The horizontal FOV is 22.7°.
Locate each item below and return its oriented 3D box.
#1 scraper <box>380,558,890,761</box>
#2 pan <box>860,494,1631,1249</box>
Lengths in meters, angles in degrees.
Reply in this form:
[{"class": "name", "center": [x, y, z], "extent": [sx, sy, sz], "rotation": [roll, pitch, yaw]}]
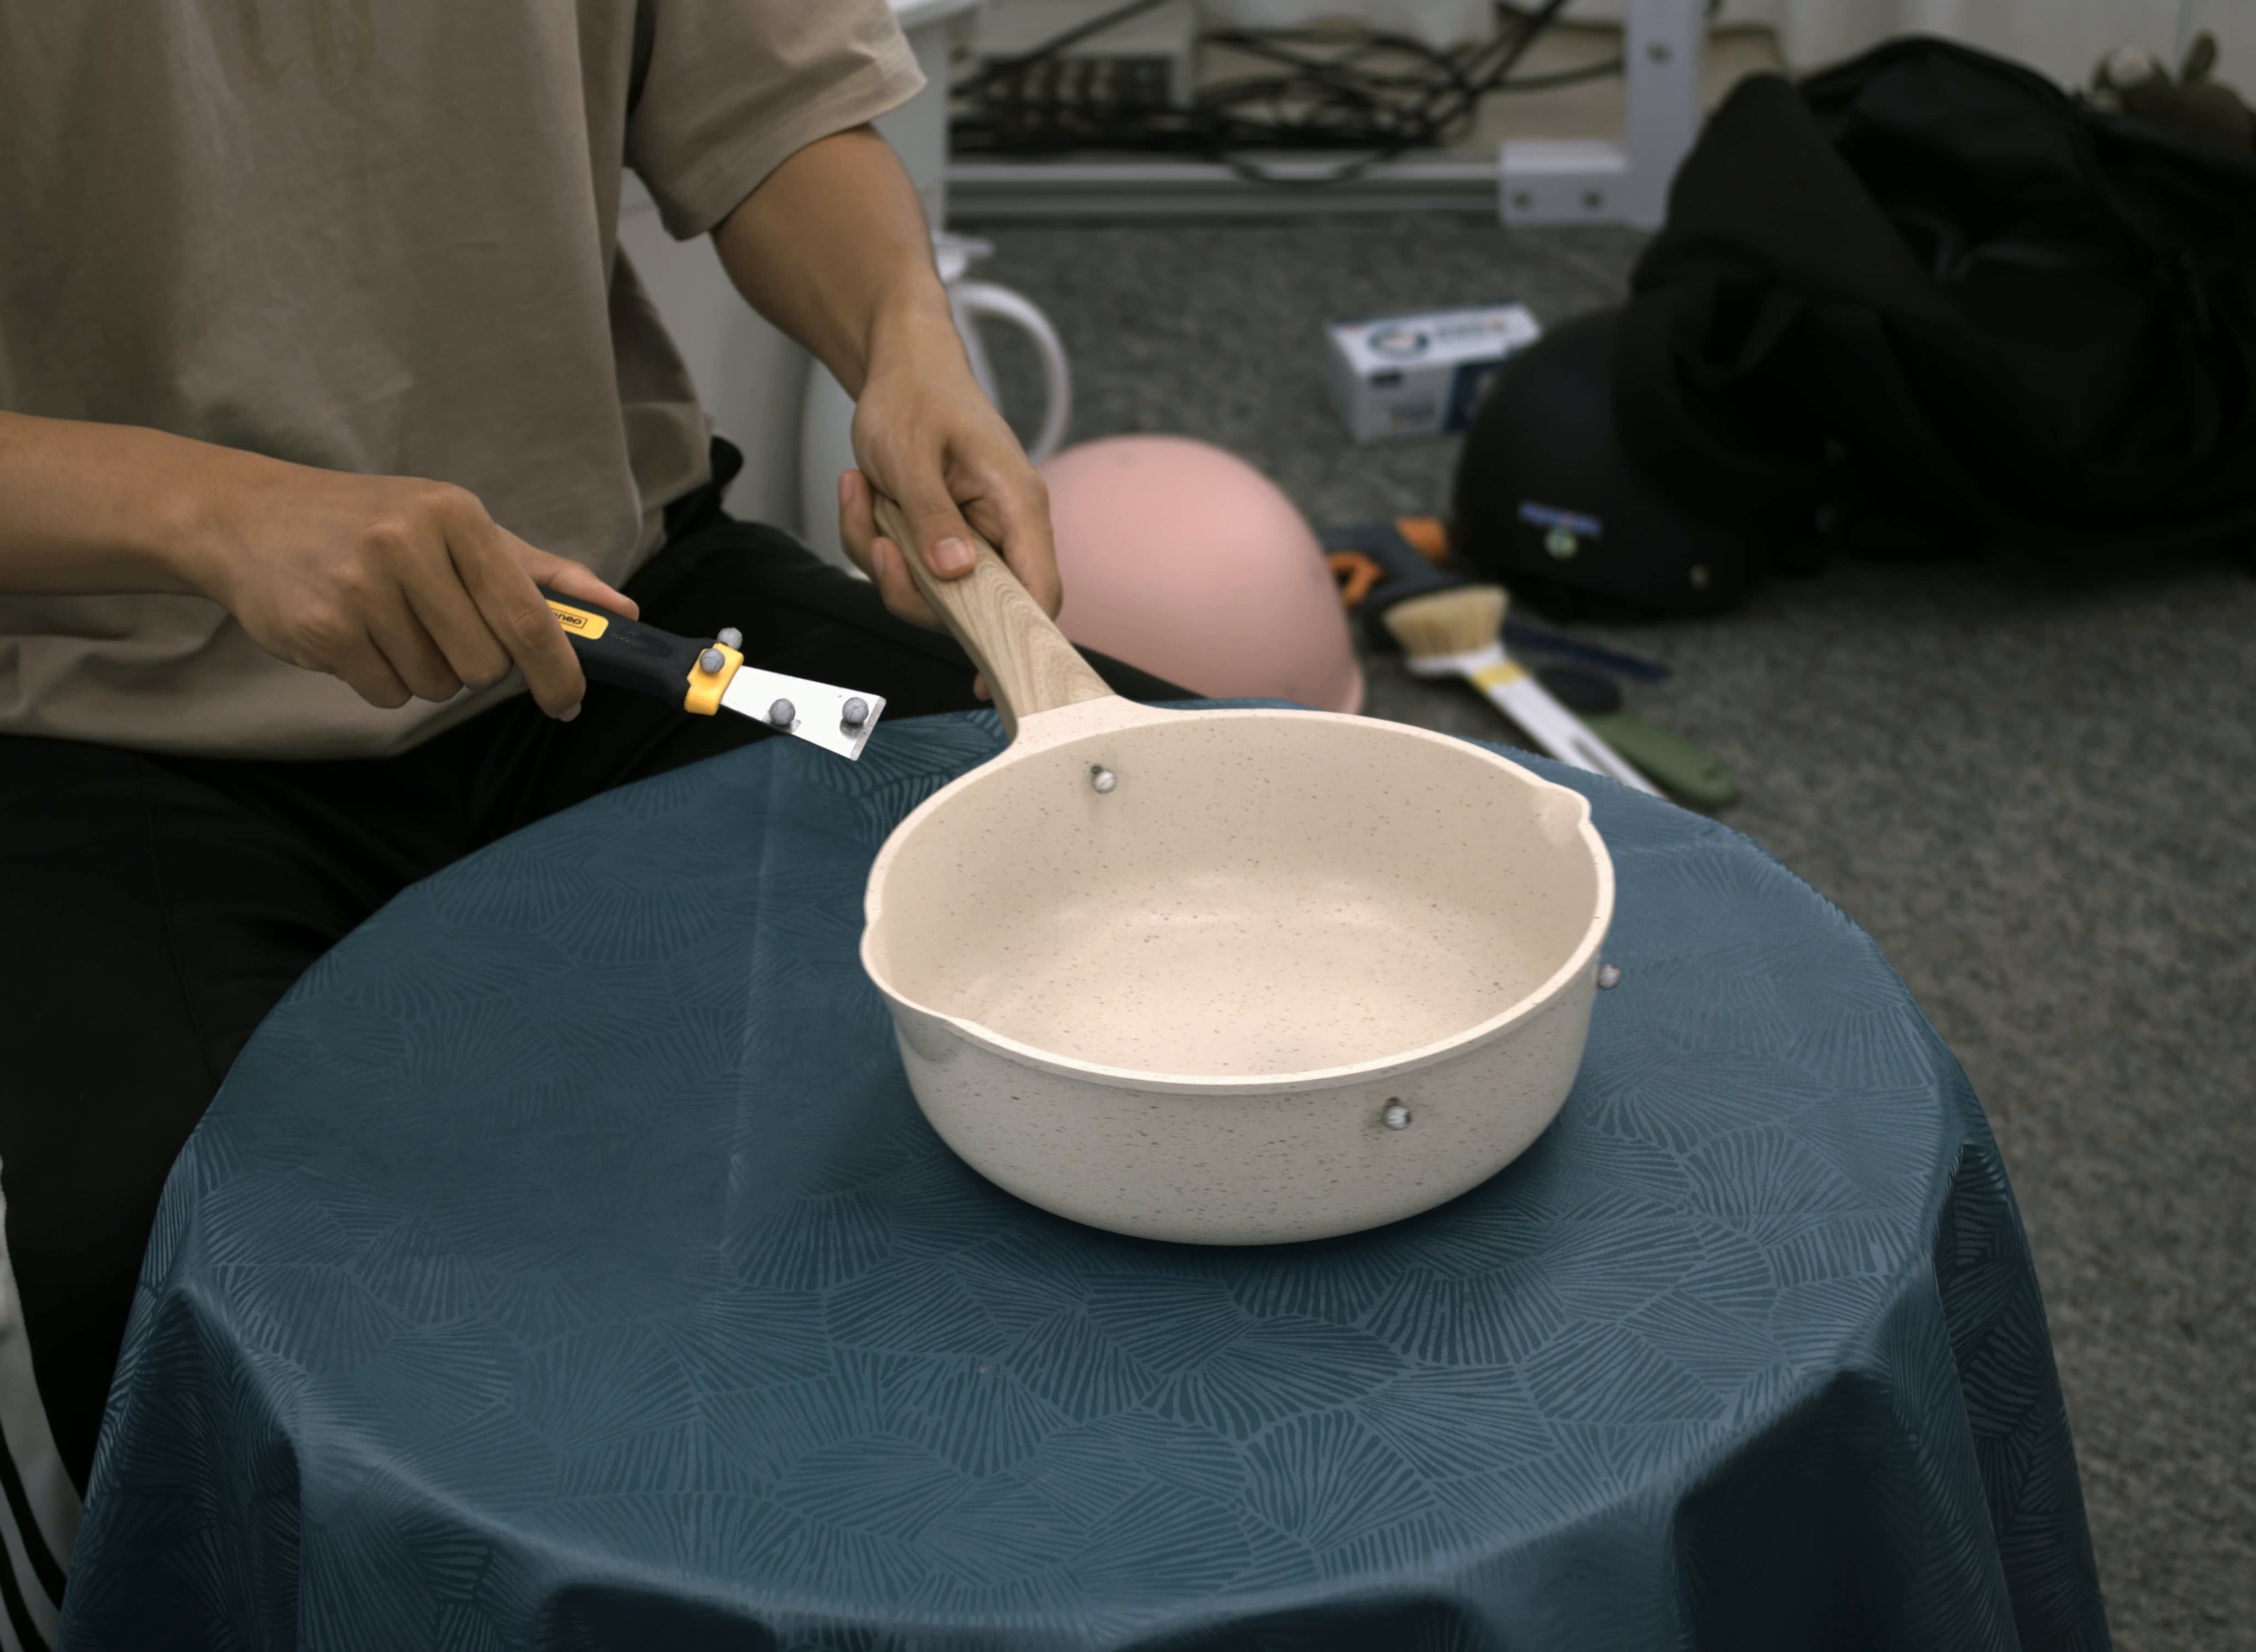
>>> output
[{"class": "scraper", "center": [-0.164, -0.055, 1.848], "extent": [0.170, 0.014, 0.039], "rotation": [16, 47, 4]}, {"class": "pan", "center": [0.007, 0.010, 1.971], "extent": [0.264, 0.101, 0.438], "rotation": [-16, 31, -20]}]
